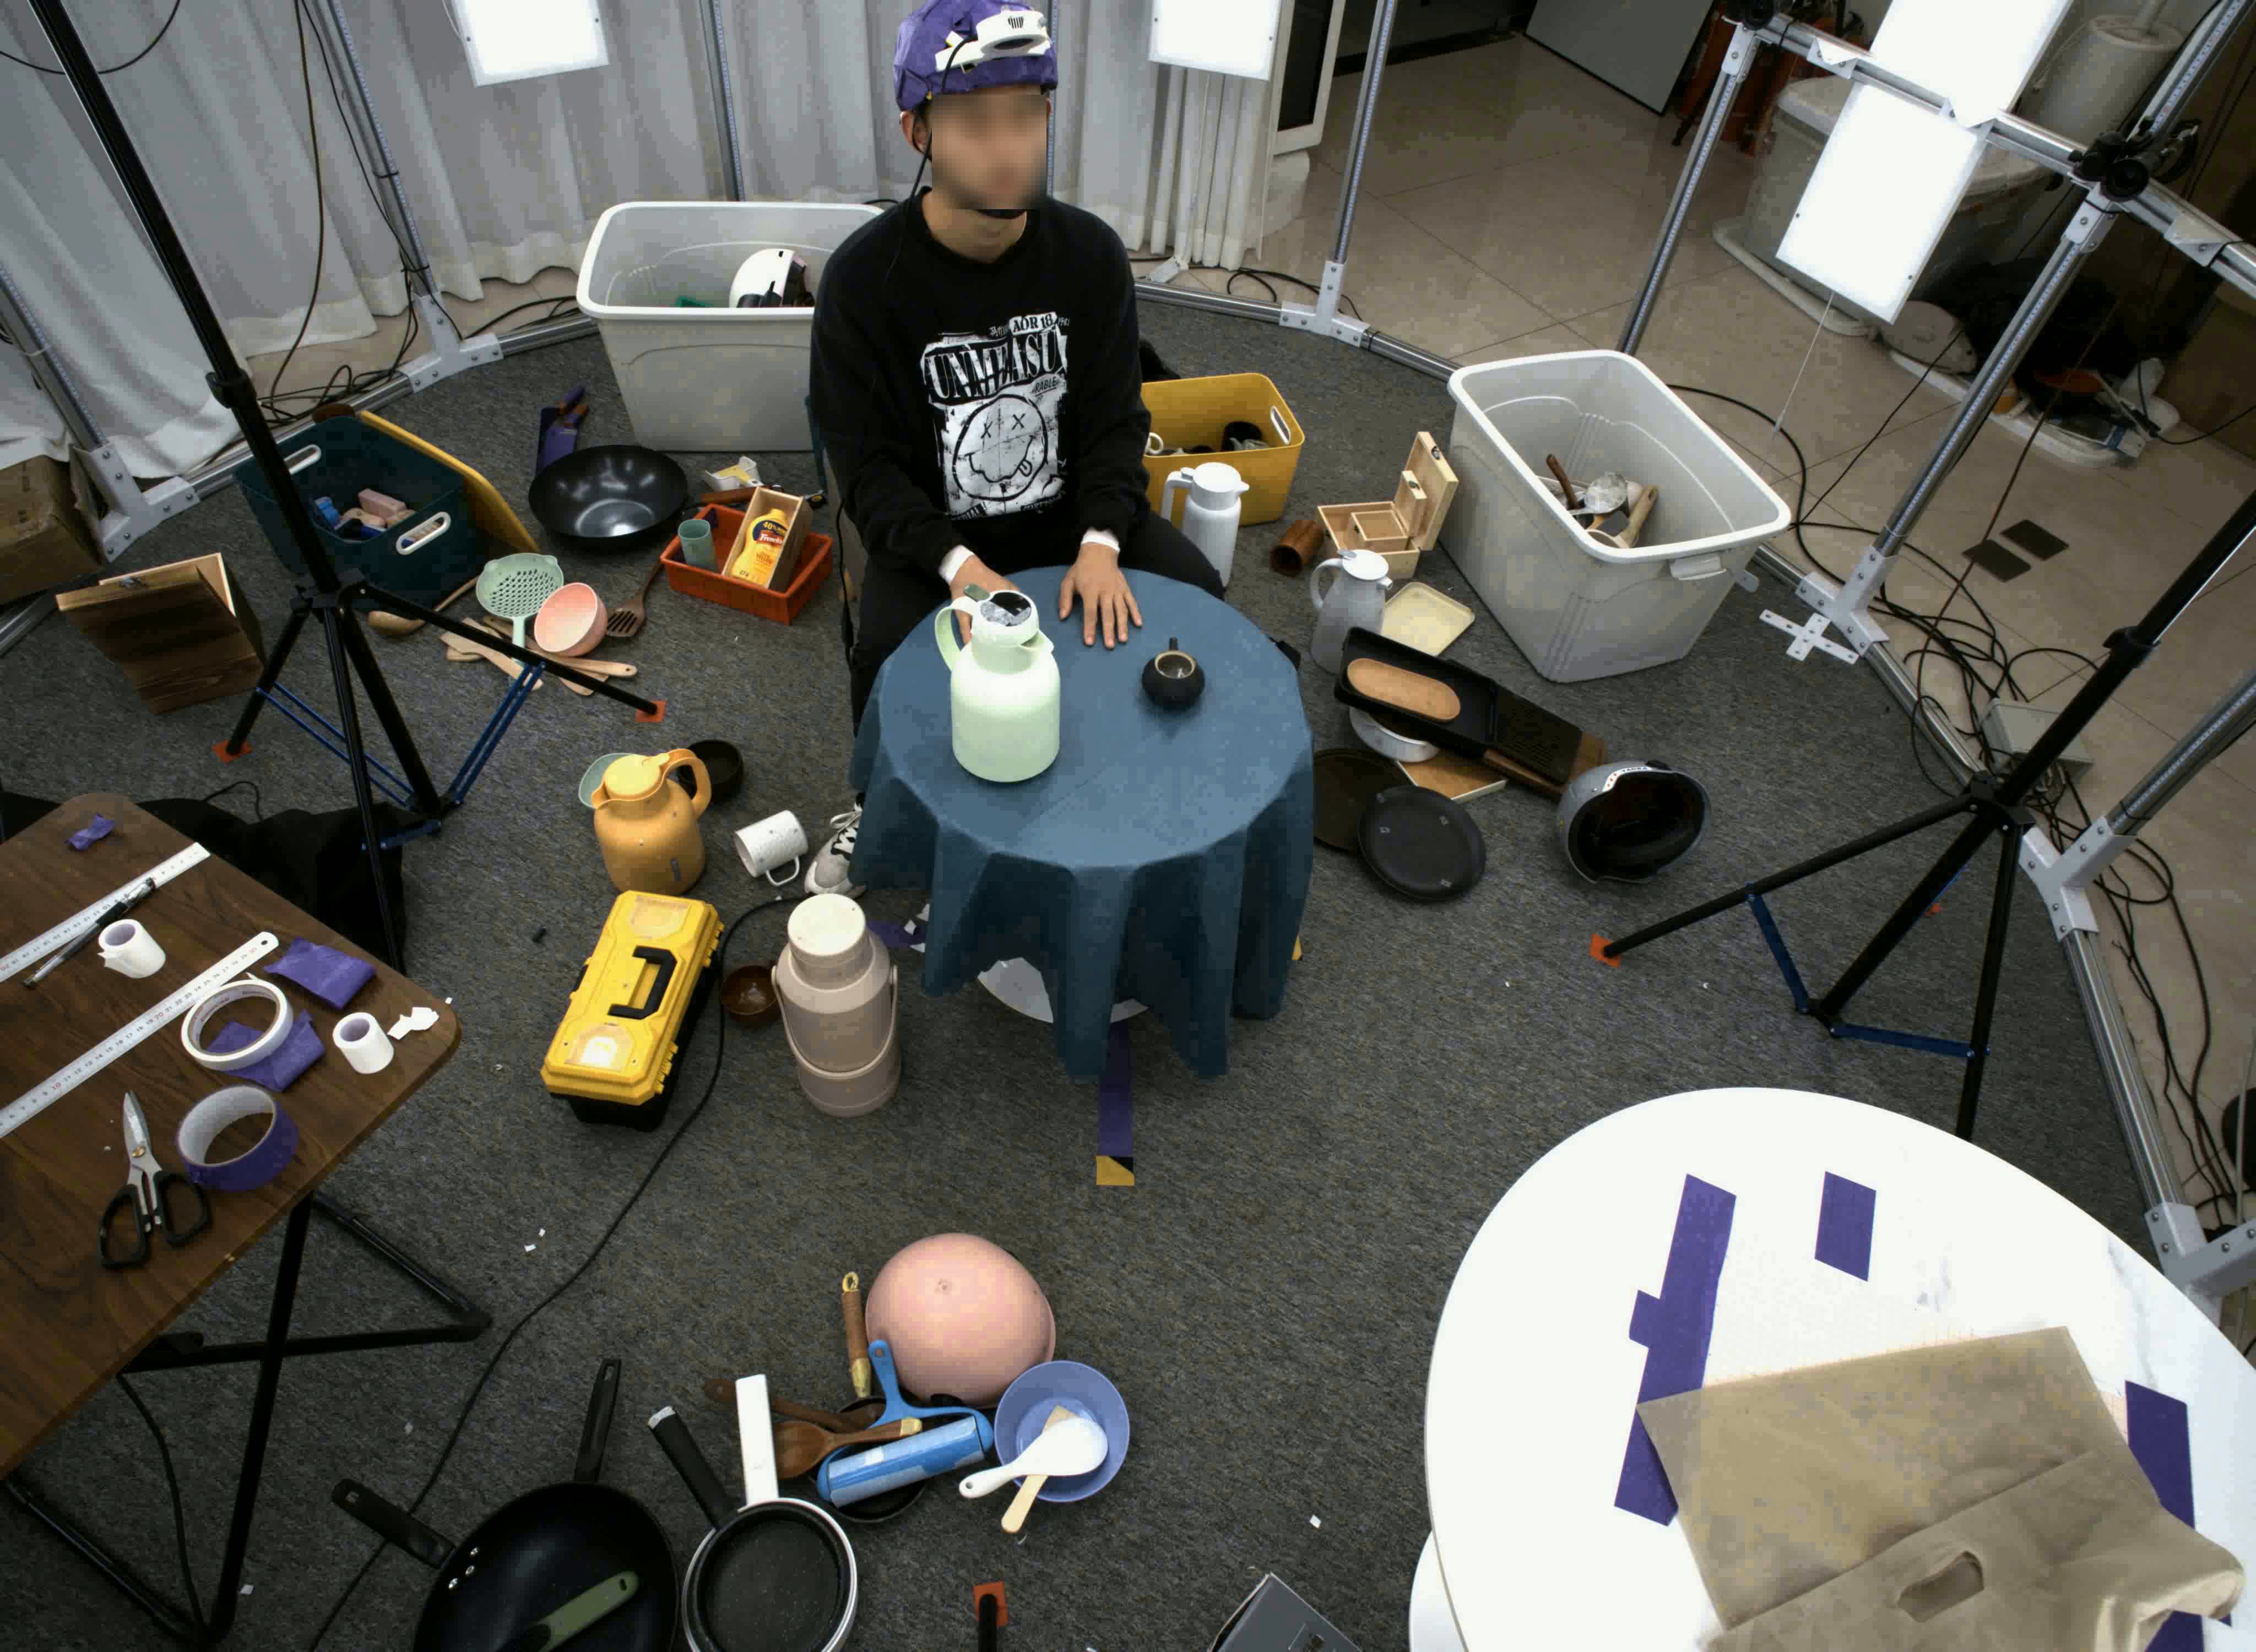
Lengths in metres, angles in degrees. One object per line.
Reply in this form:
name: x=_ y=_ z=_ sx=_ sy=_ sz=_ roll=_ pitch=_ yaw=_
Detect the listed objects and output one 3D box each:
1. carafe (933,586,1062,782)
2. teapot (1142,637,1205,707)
carafe: x=-0.170 y=-0.191 z=1.664 sx=0.189 sy=0.250 sz=0.146 roll=30 pitch=55 yaw=24
teapot: x=0.065 y=-0.212 z=1.822 sx=0.091 sy=0.052 sz=0.136 roll=4 pitch=50 yaw=-3
